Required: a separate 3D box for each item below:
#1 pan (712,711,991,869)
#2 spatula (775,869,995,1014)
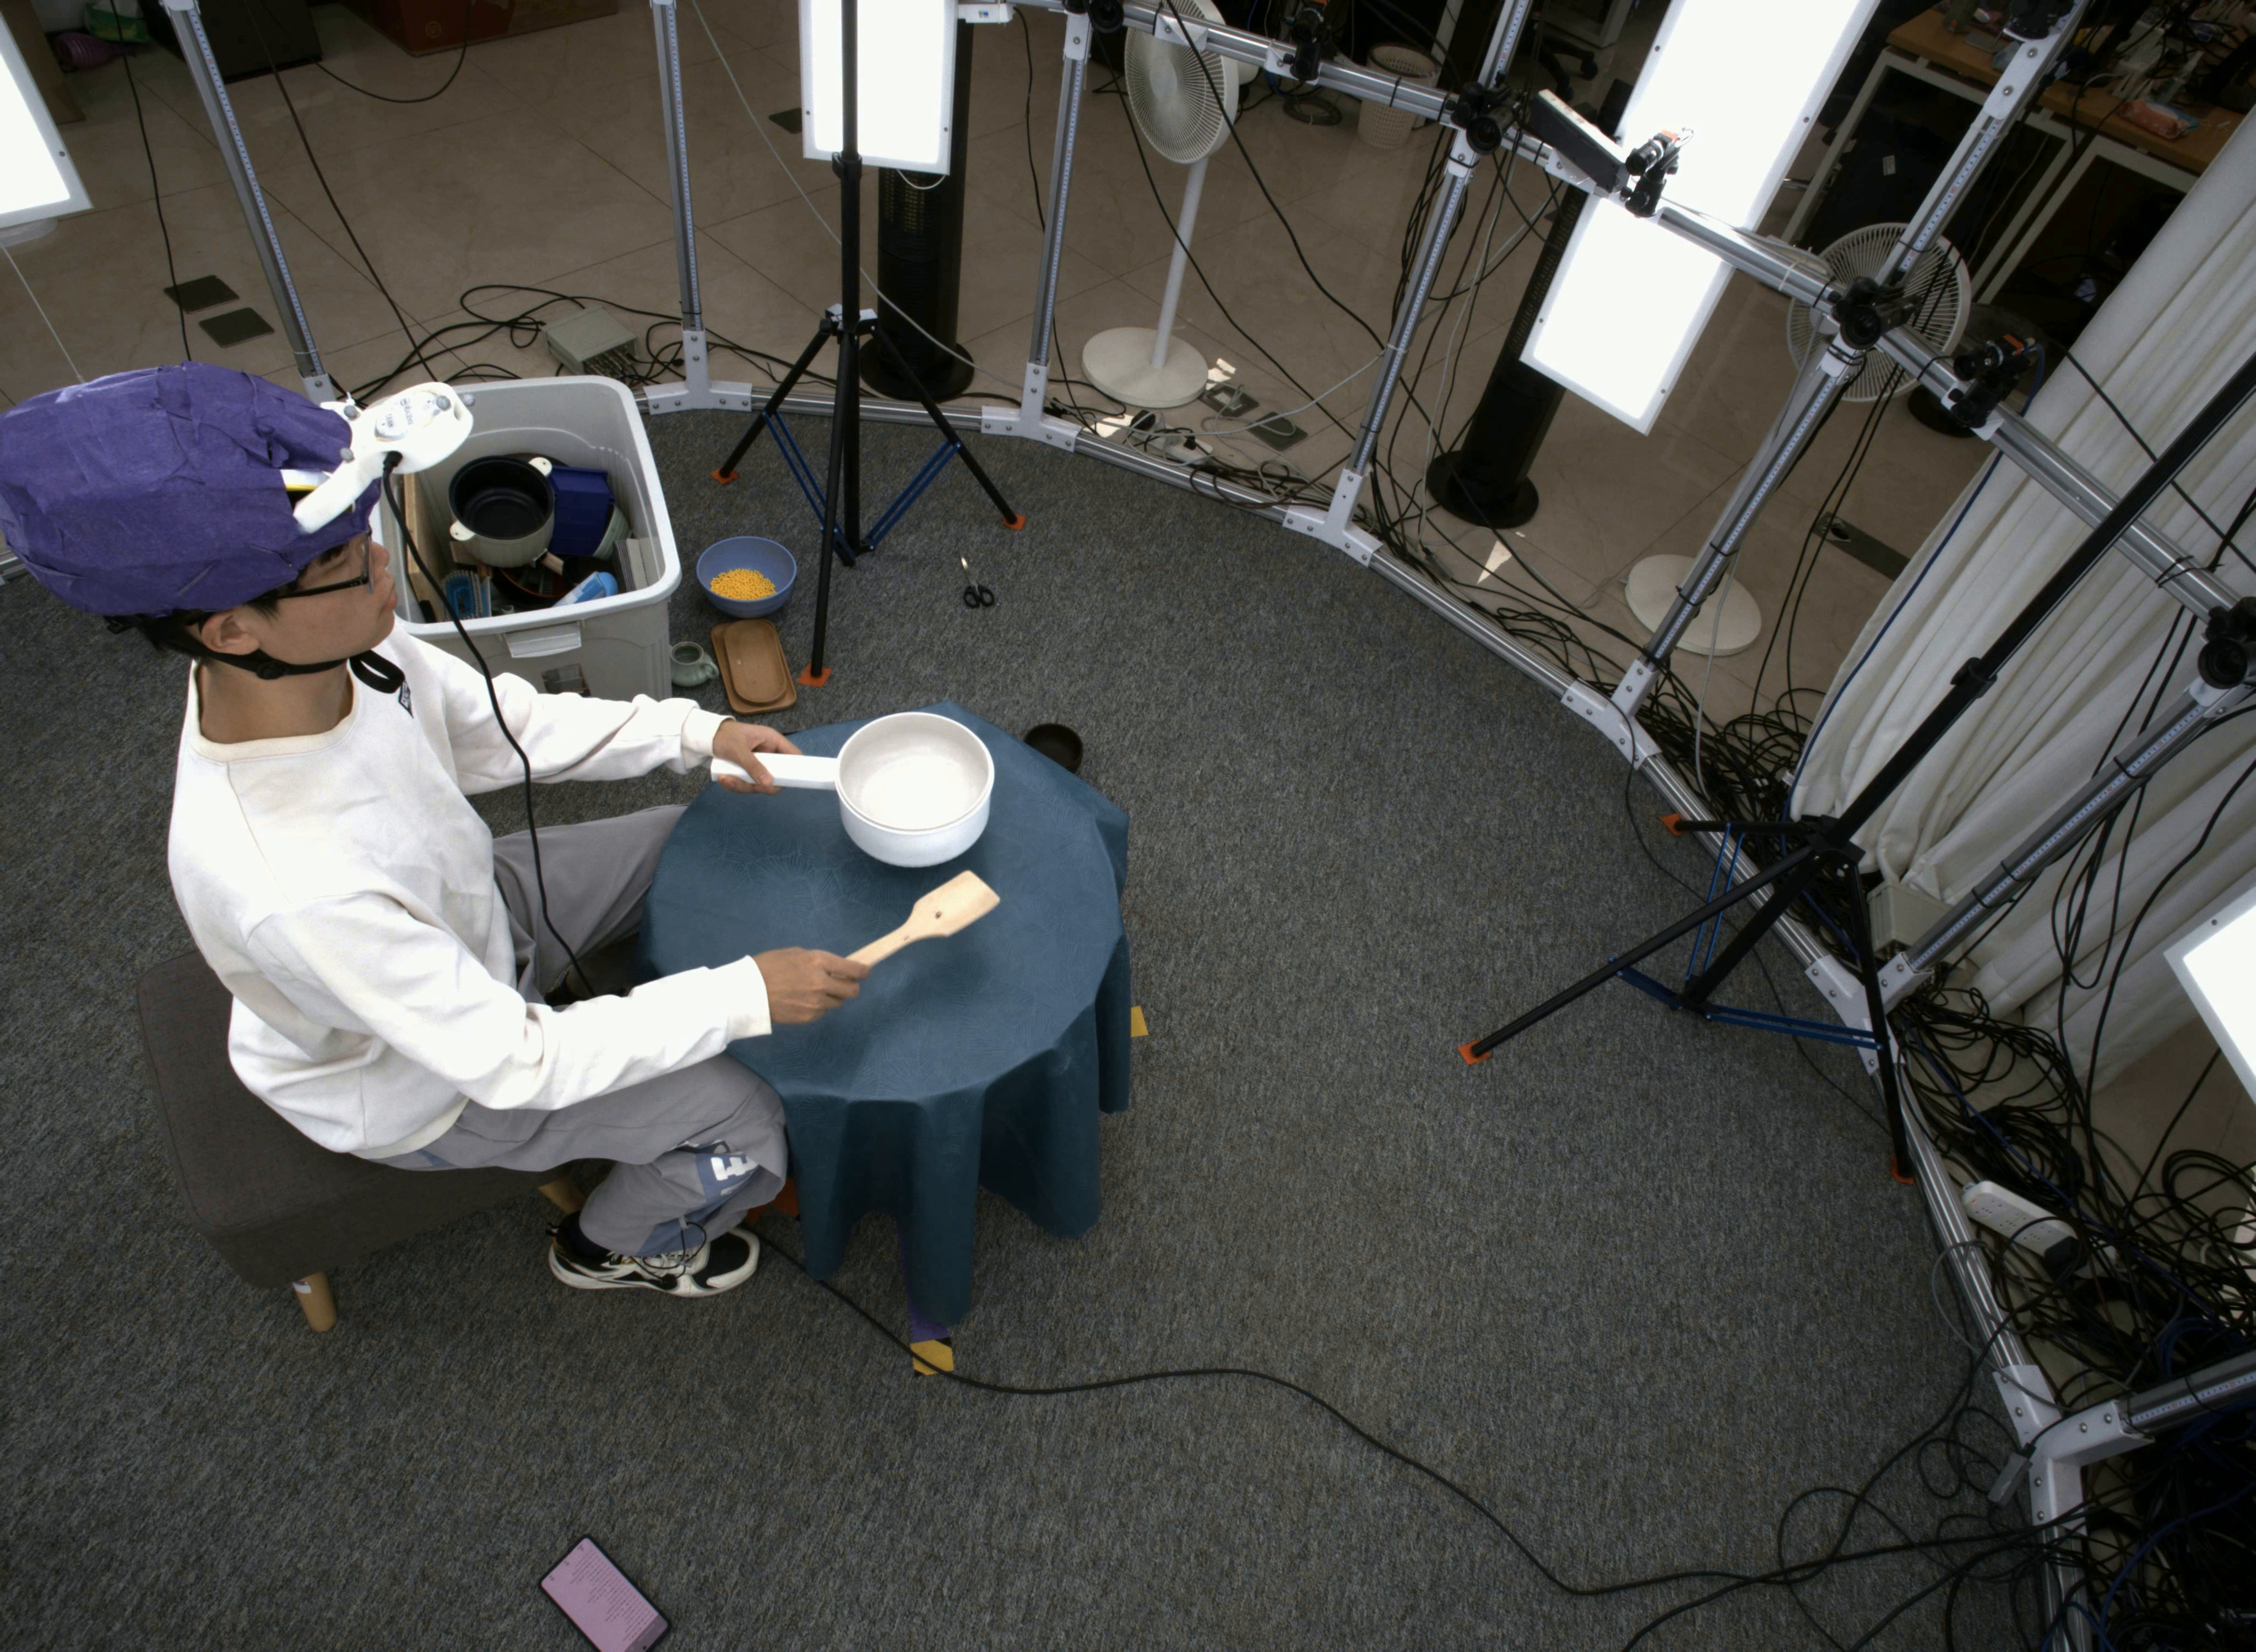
[{"bbox_3d":[-0.354,-0.046,1.687,0.353,0.104,0.197,3,54,-7],"label":"pan"},{"bbox_3d":[-0.290,0.139,1.546,0.294,0.011,0.070,-32,55,-29],"label":"spatula"}]
